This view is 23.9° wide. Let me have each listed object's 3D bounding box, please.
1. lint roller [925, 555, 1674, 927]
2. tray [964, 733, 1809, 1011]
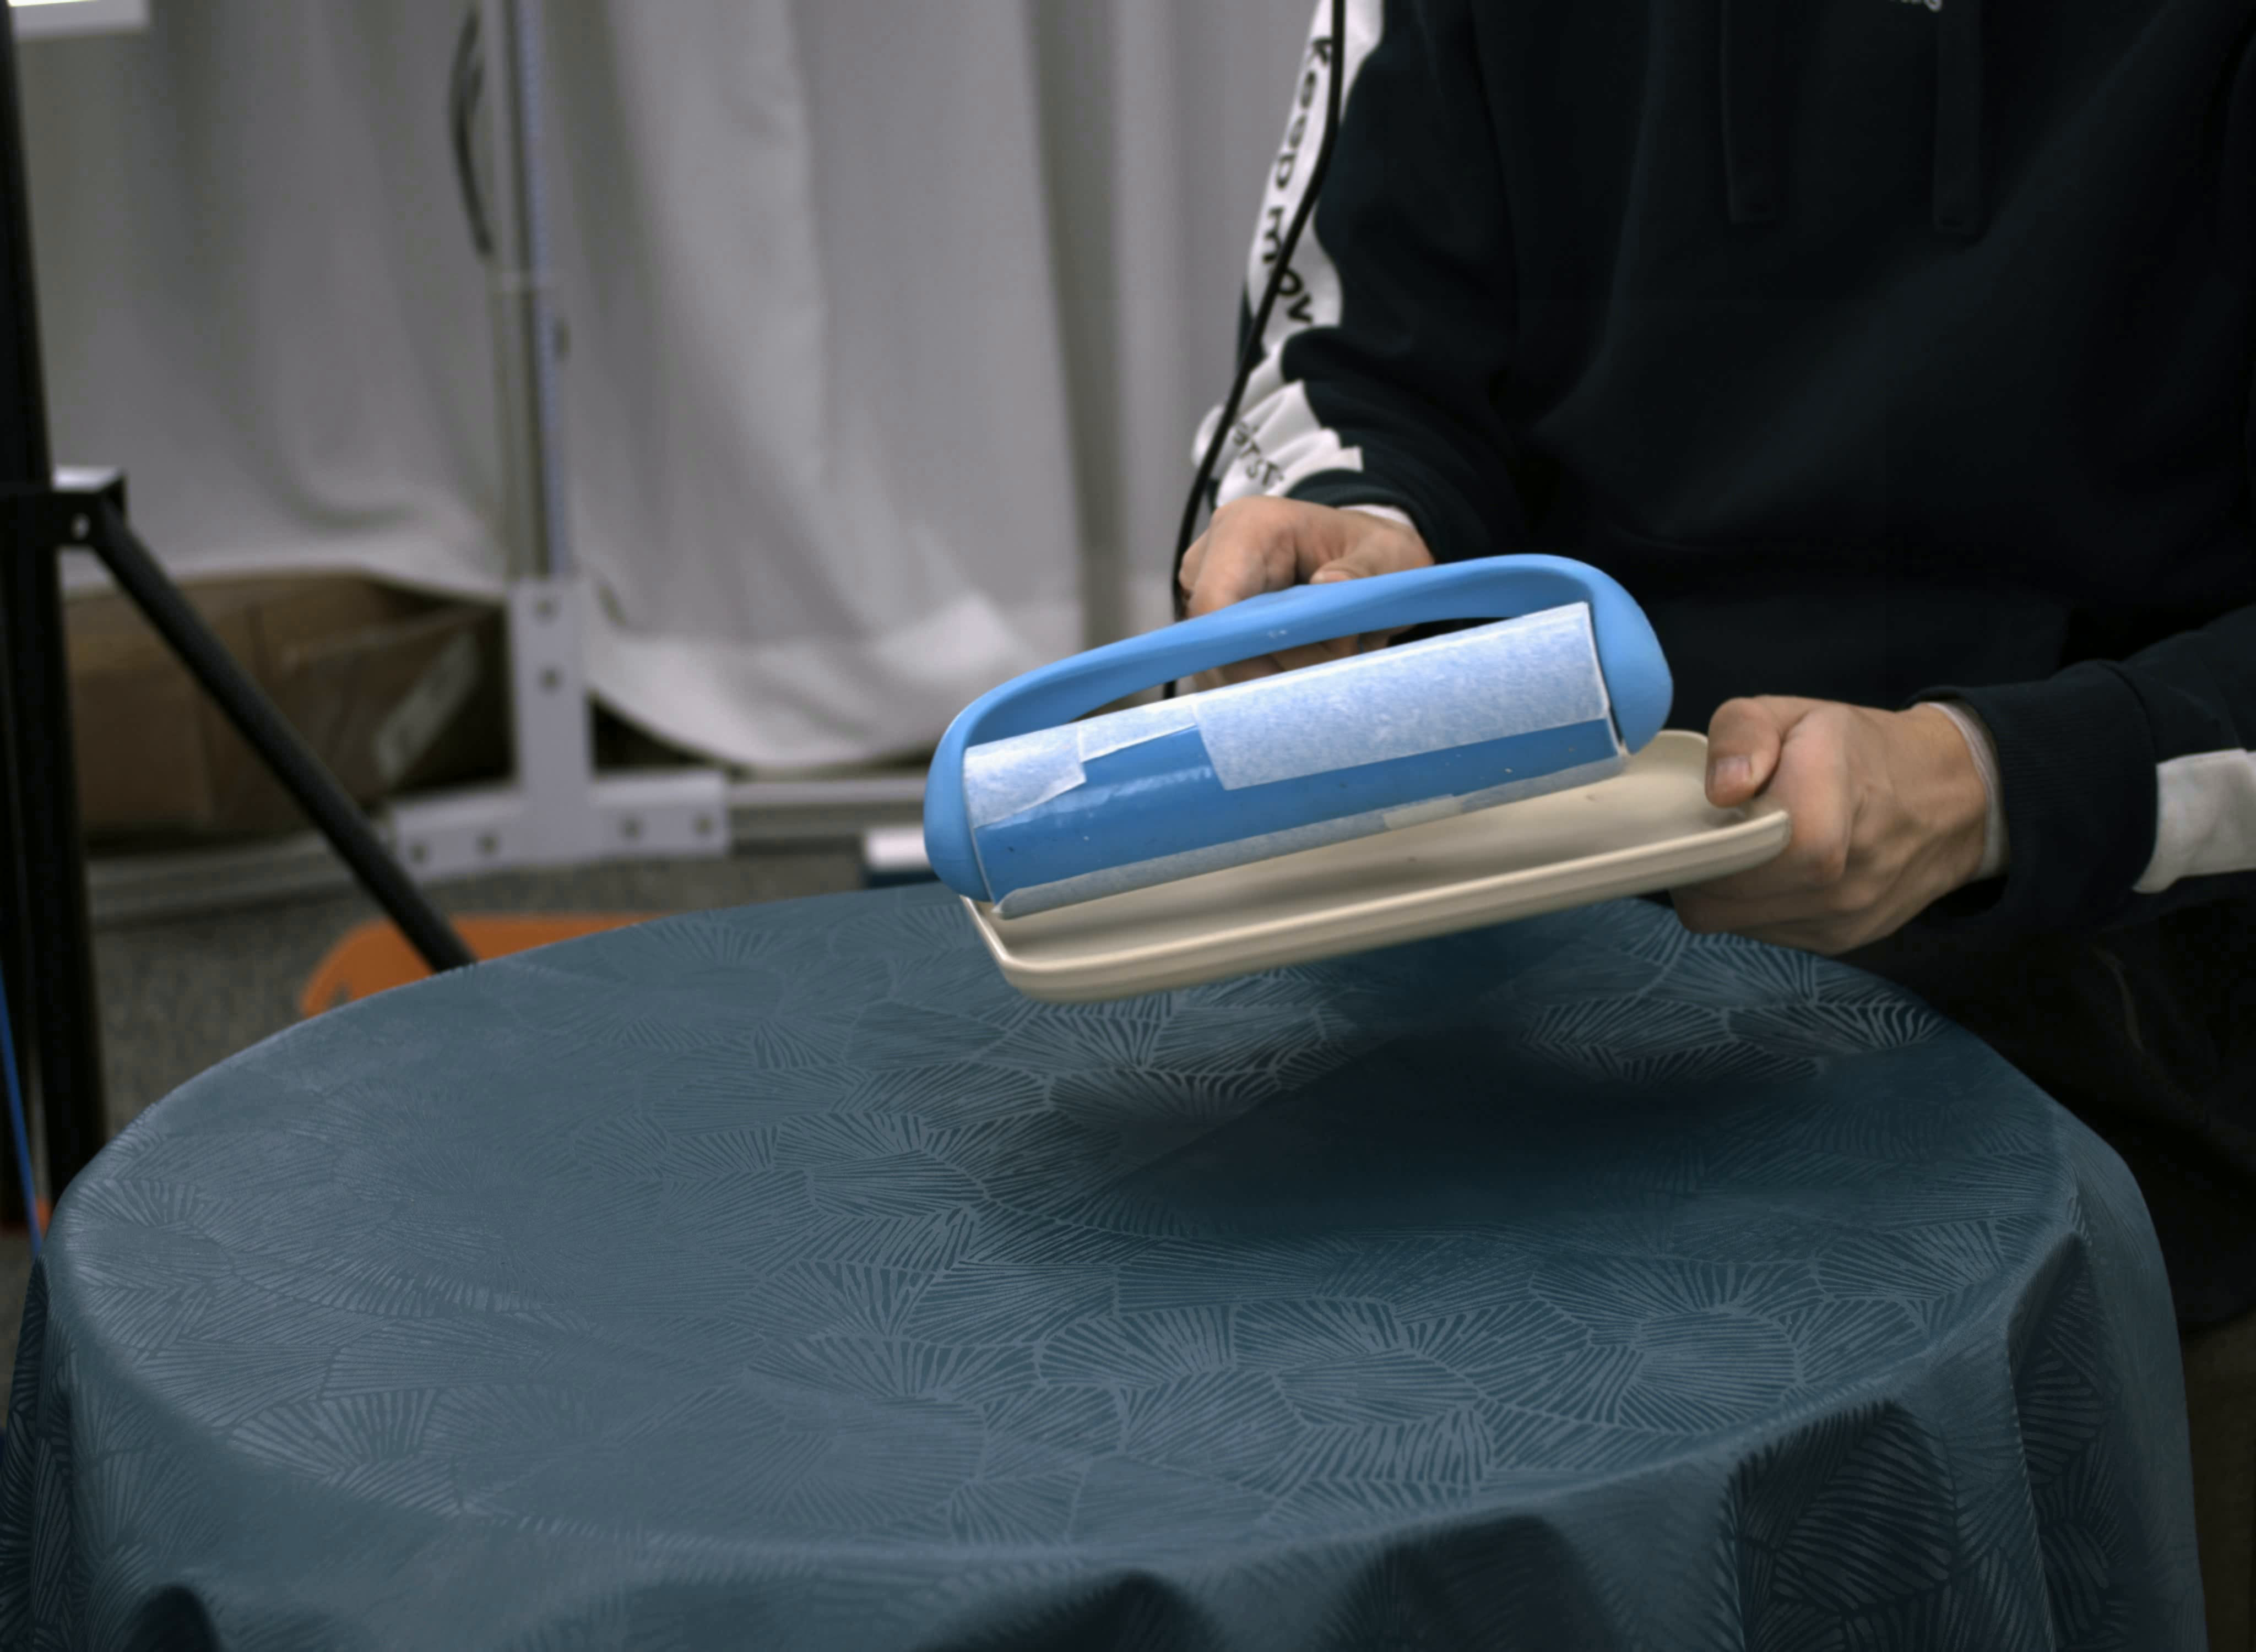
[{"bbox_3d":[0.050,-0.040,1.635,0.229,0.067,0.181,-16,19,8],"label":"lint roller"},{"bbox_3d":[0.075,0.014,1.584,0.238,0.017,0.172,-12,11,-4],"label":"tray"}]
